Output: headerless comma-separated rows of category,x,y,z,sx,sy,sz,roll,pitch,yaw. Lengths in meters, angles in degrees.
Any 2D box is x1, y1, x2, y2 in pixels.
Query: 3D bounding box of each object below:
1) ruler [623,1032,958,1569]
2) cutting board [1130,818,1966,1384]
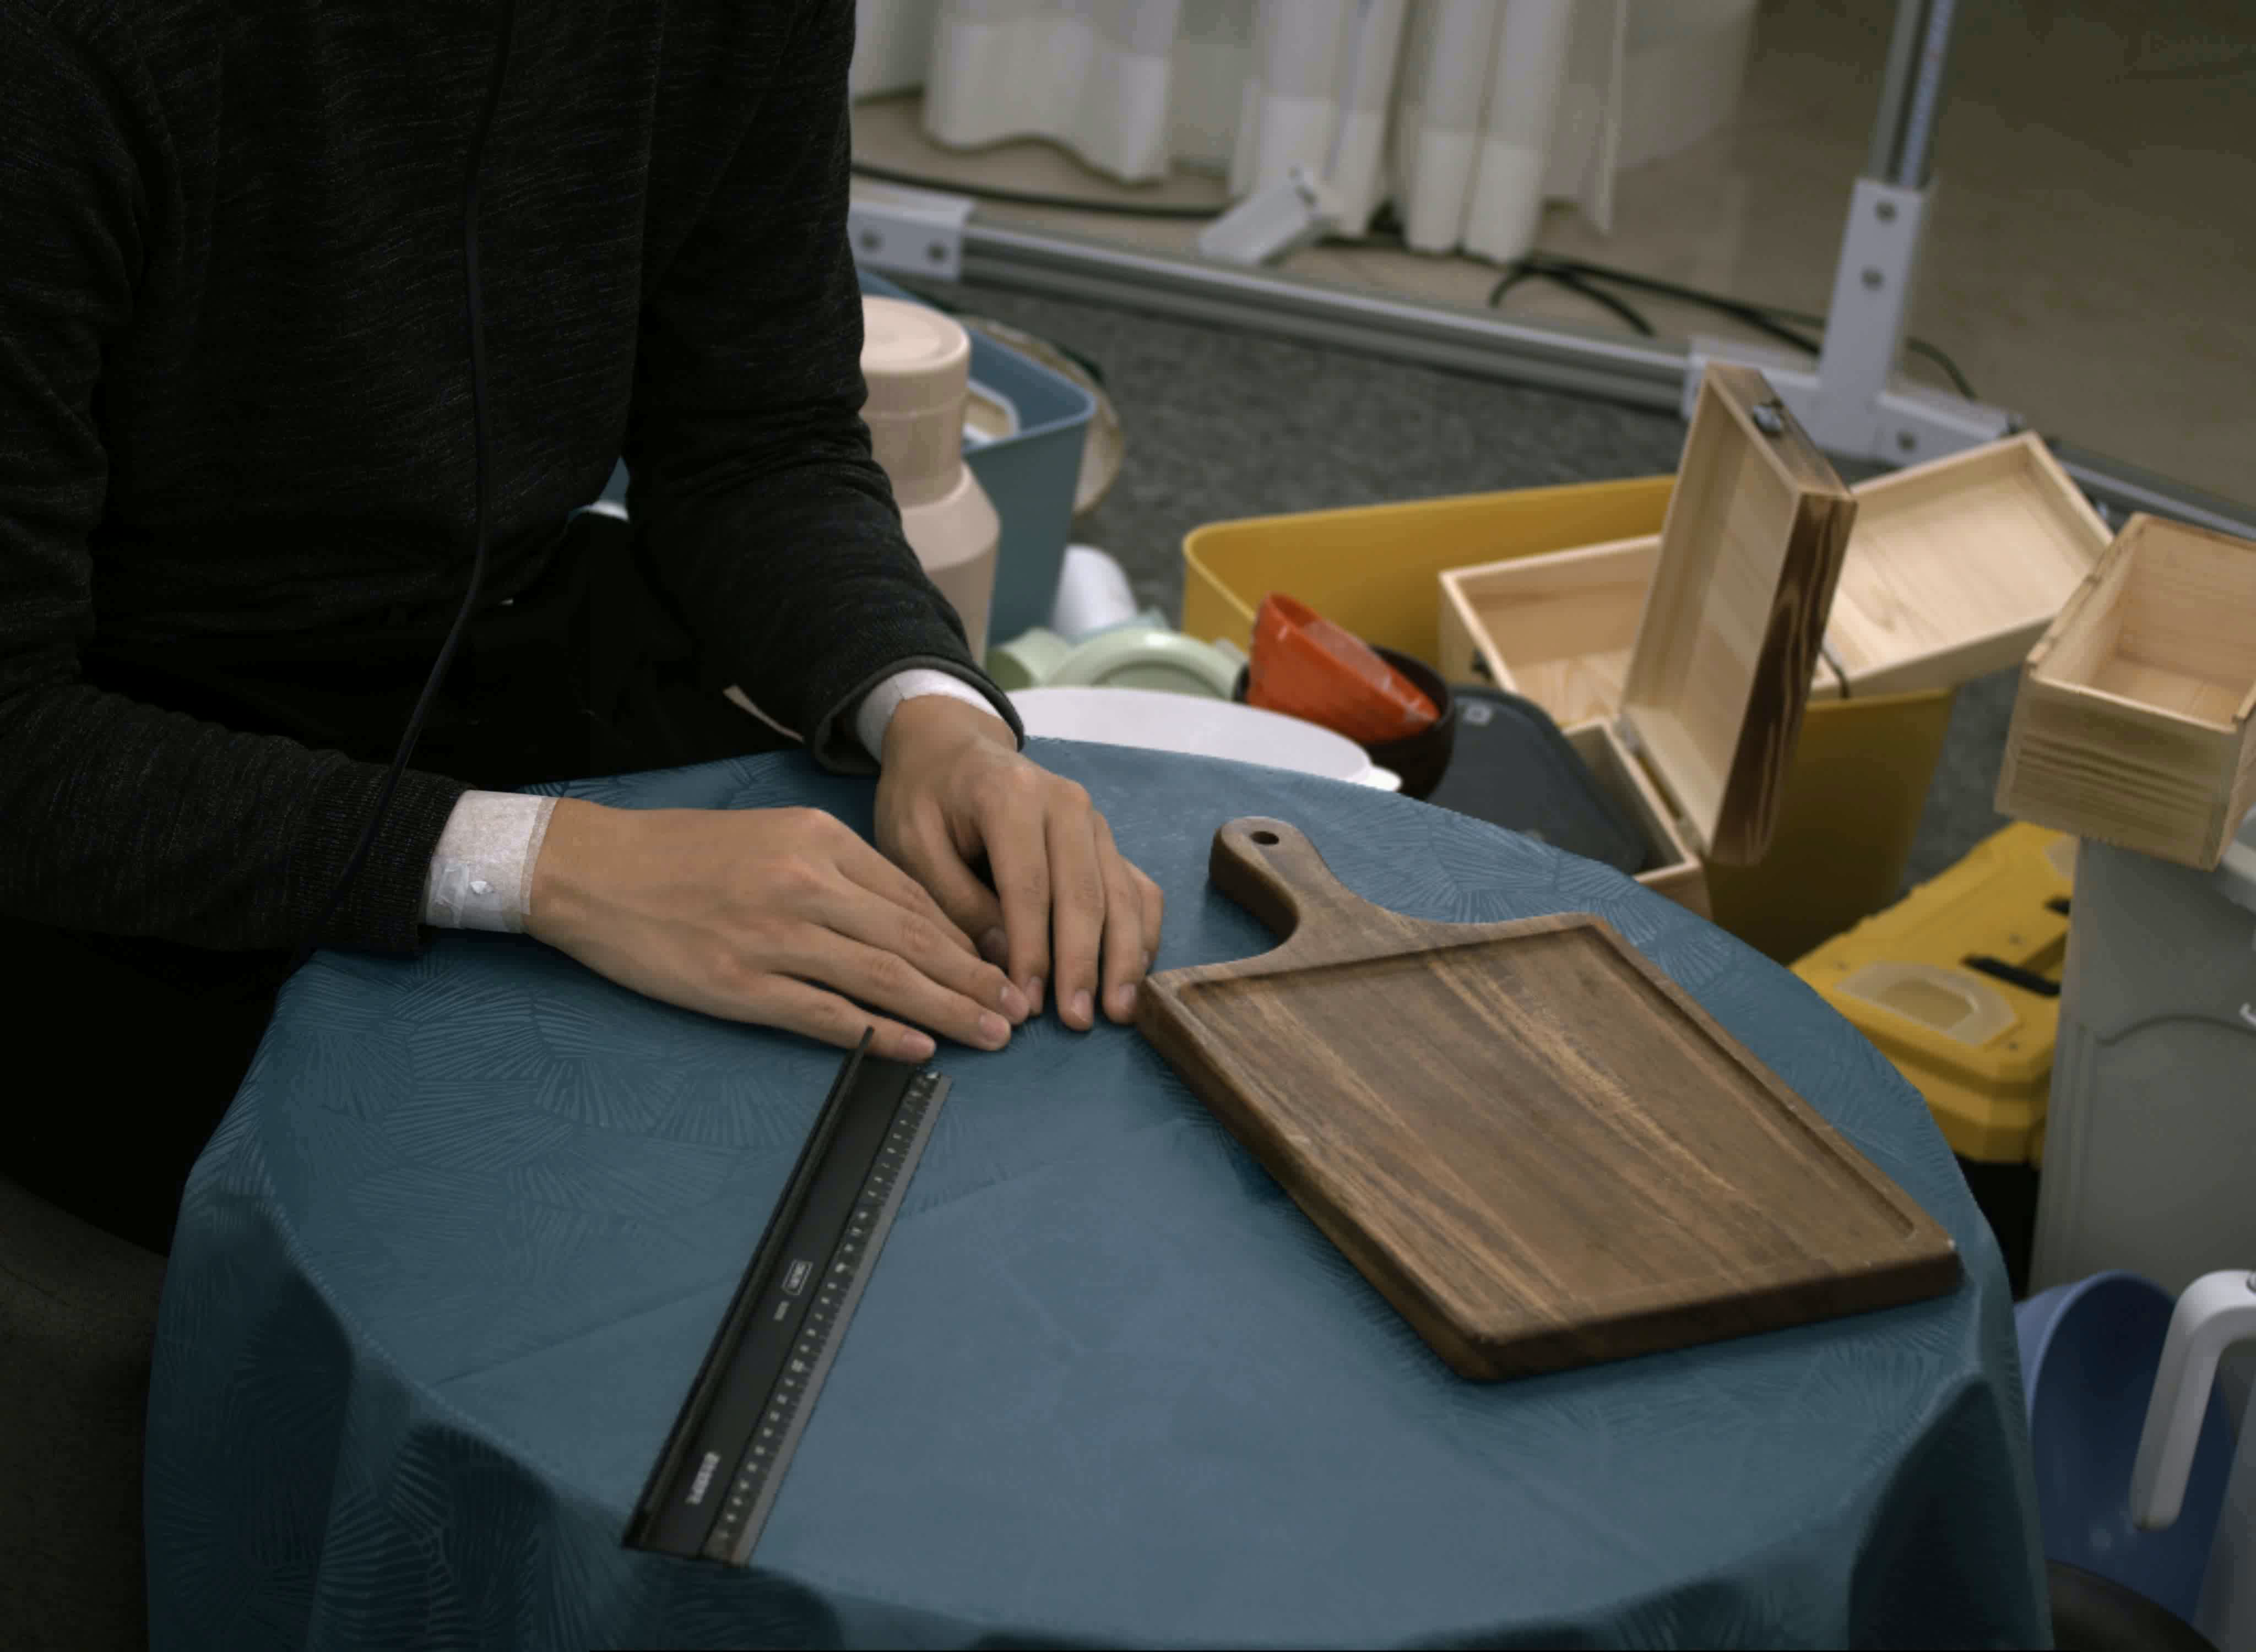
ruler,-0.104,0.146,1.717,0.039,0.017,0.313,12,27,6
cutting board,0.120,0.083,1.885,0.200,0.023,0.355,-8,30,-26
